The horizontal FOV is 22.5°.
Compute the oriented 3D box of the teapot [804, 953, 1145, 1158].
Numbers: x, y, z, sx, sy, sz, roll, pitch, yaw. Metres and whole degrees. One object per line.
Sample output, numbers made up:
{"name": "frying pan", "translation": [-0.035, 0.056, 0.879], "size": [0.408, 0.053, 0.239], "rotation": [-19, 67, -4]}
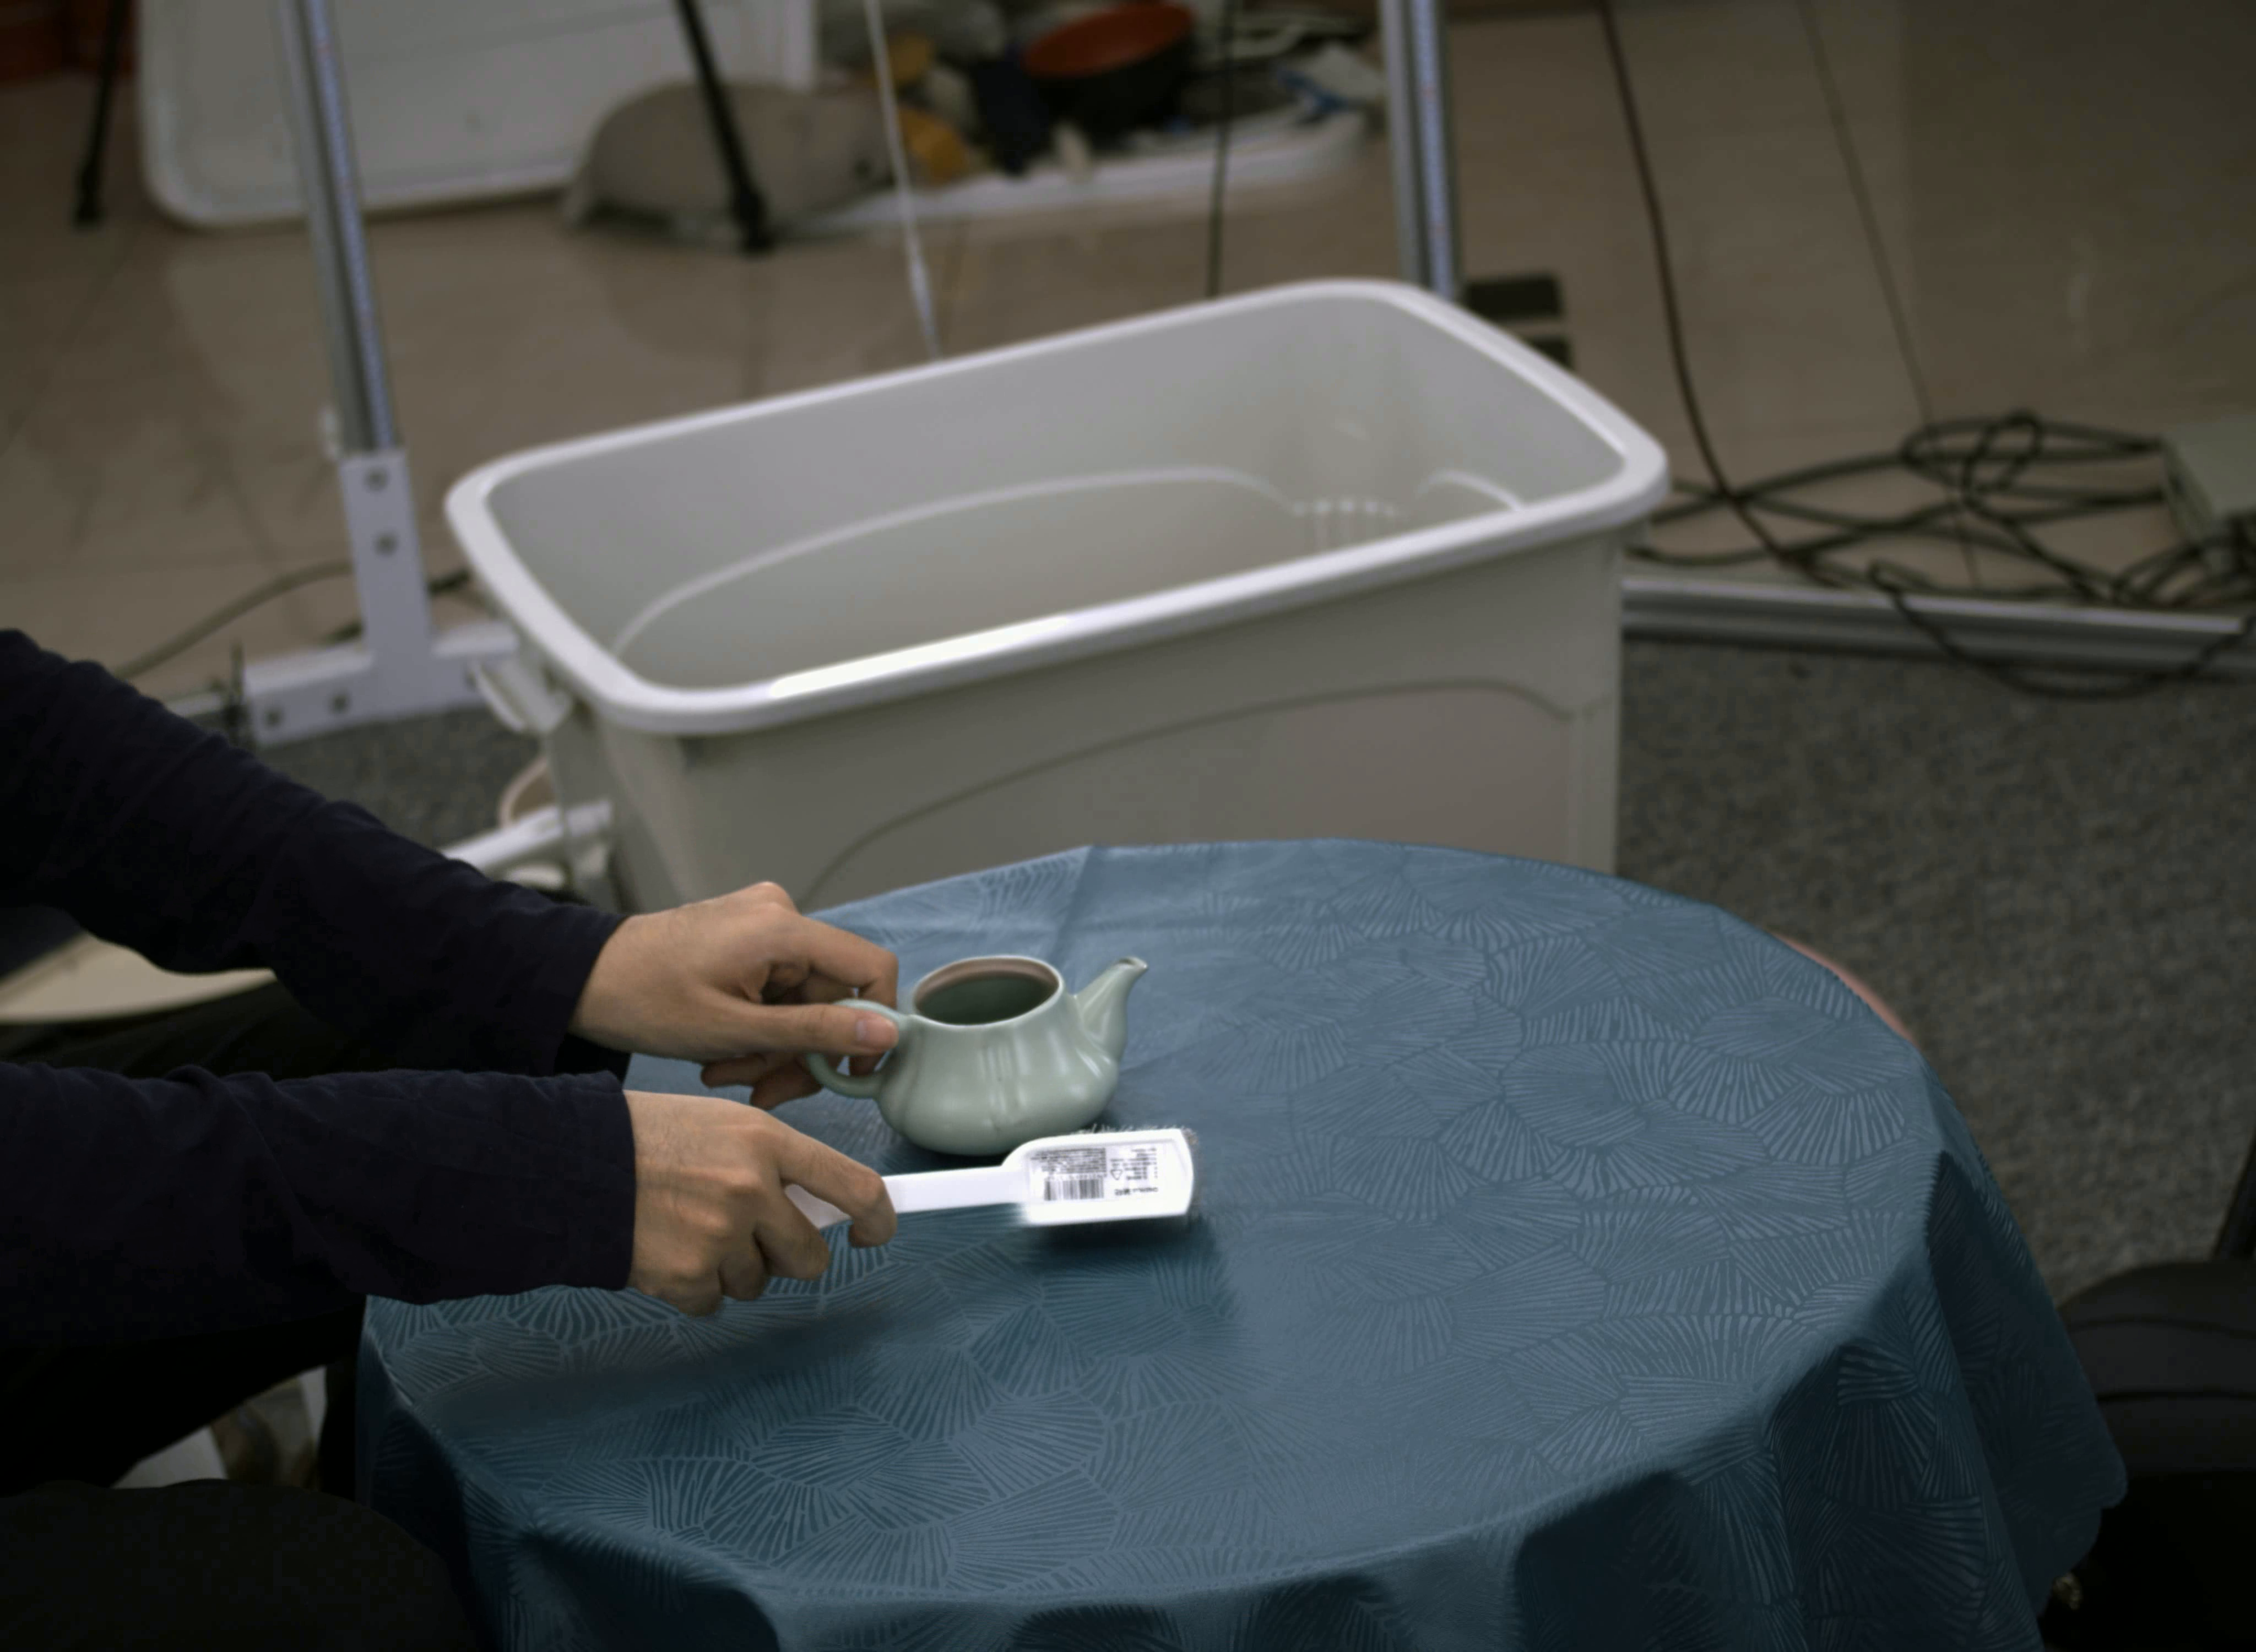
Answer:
{"name": "teapot", "translation": [-0.057, 0.088, 2.199], "size": [0.136, 0.062, 0.095], "rotation": [-10, 28, -8]}

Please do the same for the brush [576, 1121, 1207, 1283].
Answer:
{"name": "brush", "translation": [-0.086, 0.139, 2.089], "size": [0.243, 0.034, 0.050], "rotation": [-7, 2, -14]}
